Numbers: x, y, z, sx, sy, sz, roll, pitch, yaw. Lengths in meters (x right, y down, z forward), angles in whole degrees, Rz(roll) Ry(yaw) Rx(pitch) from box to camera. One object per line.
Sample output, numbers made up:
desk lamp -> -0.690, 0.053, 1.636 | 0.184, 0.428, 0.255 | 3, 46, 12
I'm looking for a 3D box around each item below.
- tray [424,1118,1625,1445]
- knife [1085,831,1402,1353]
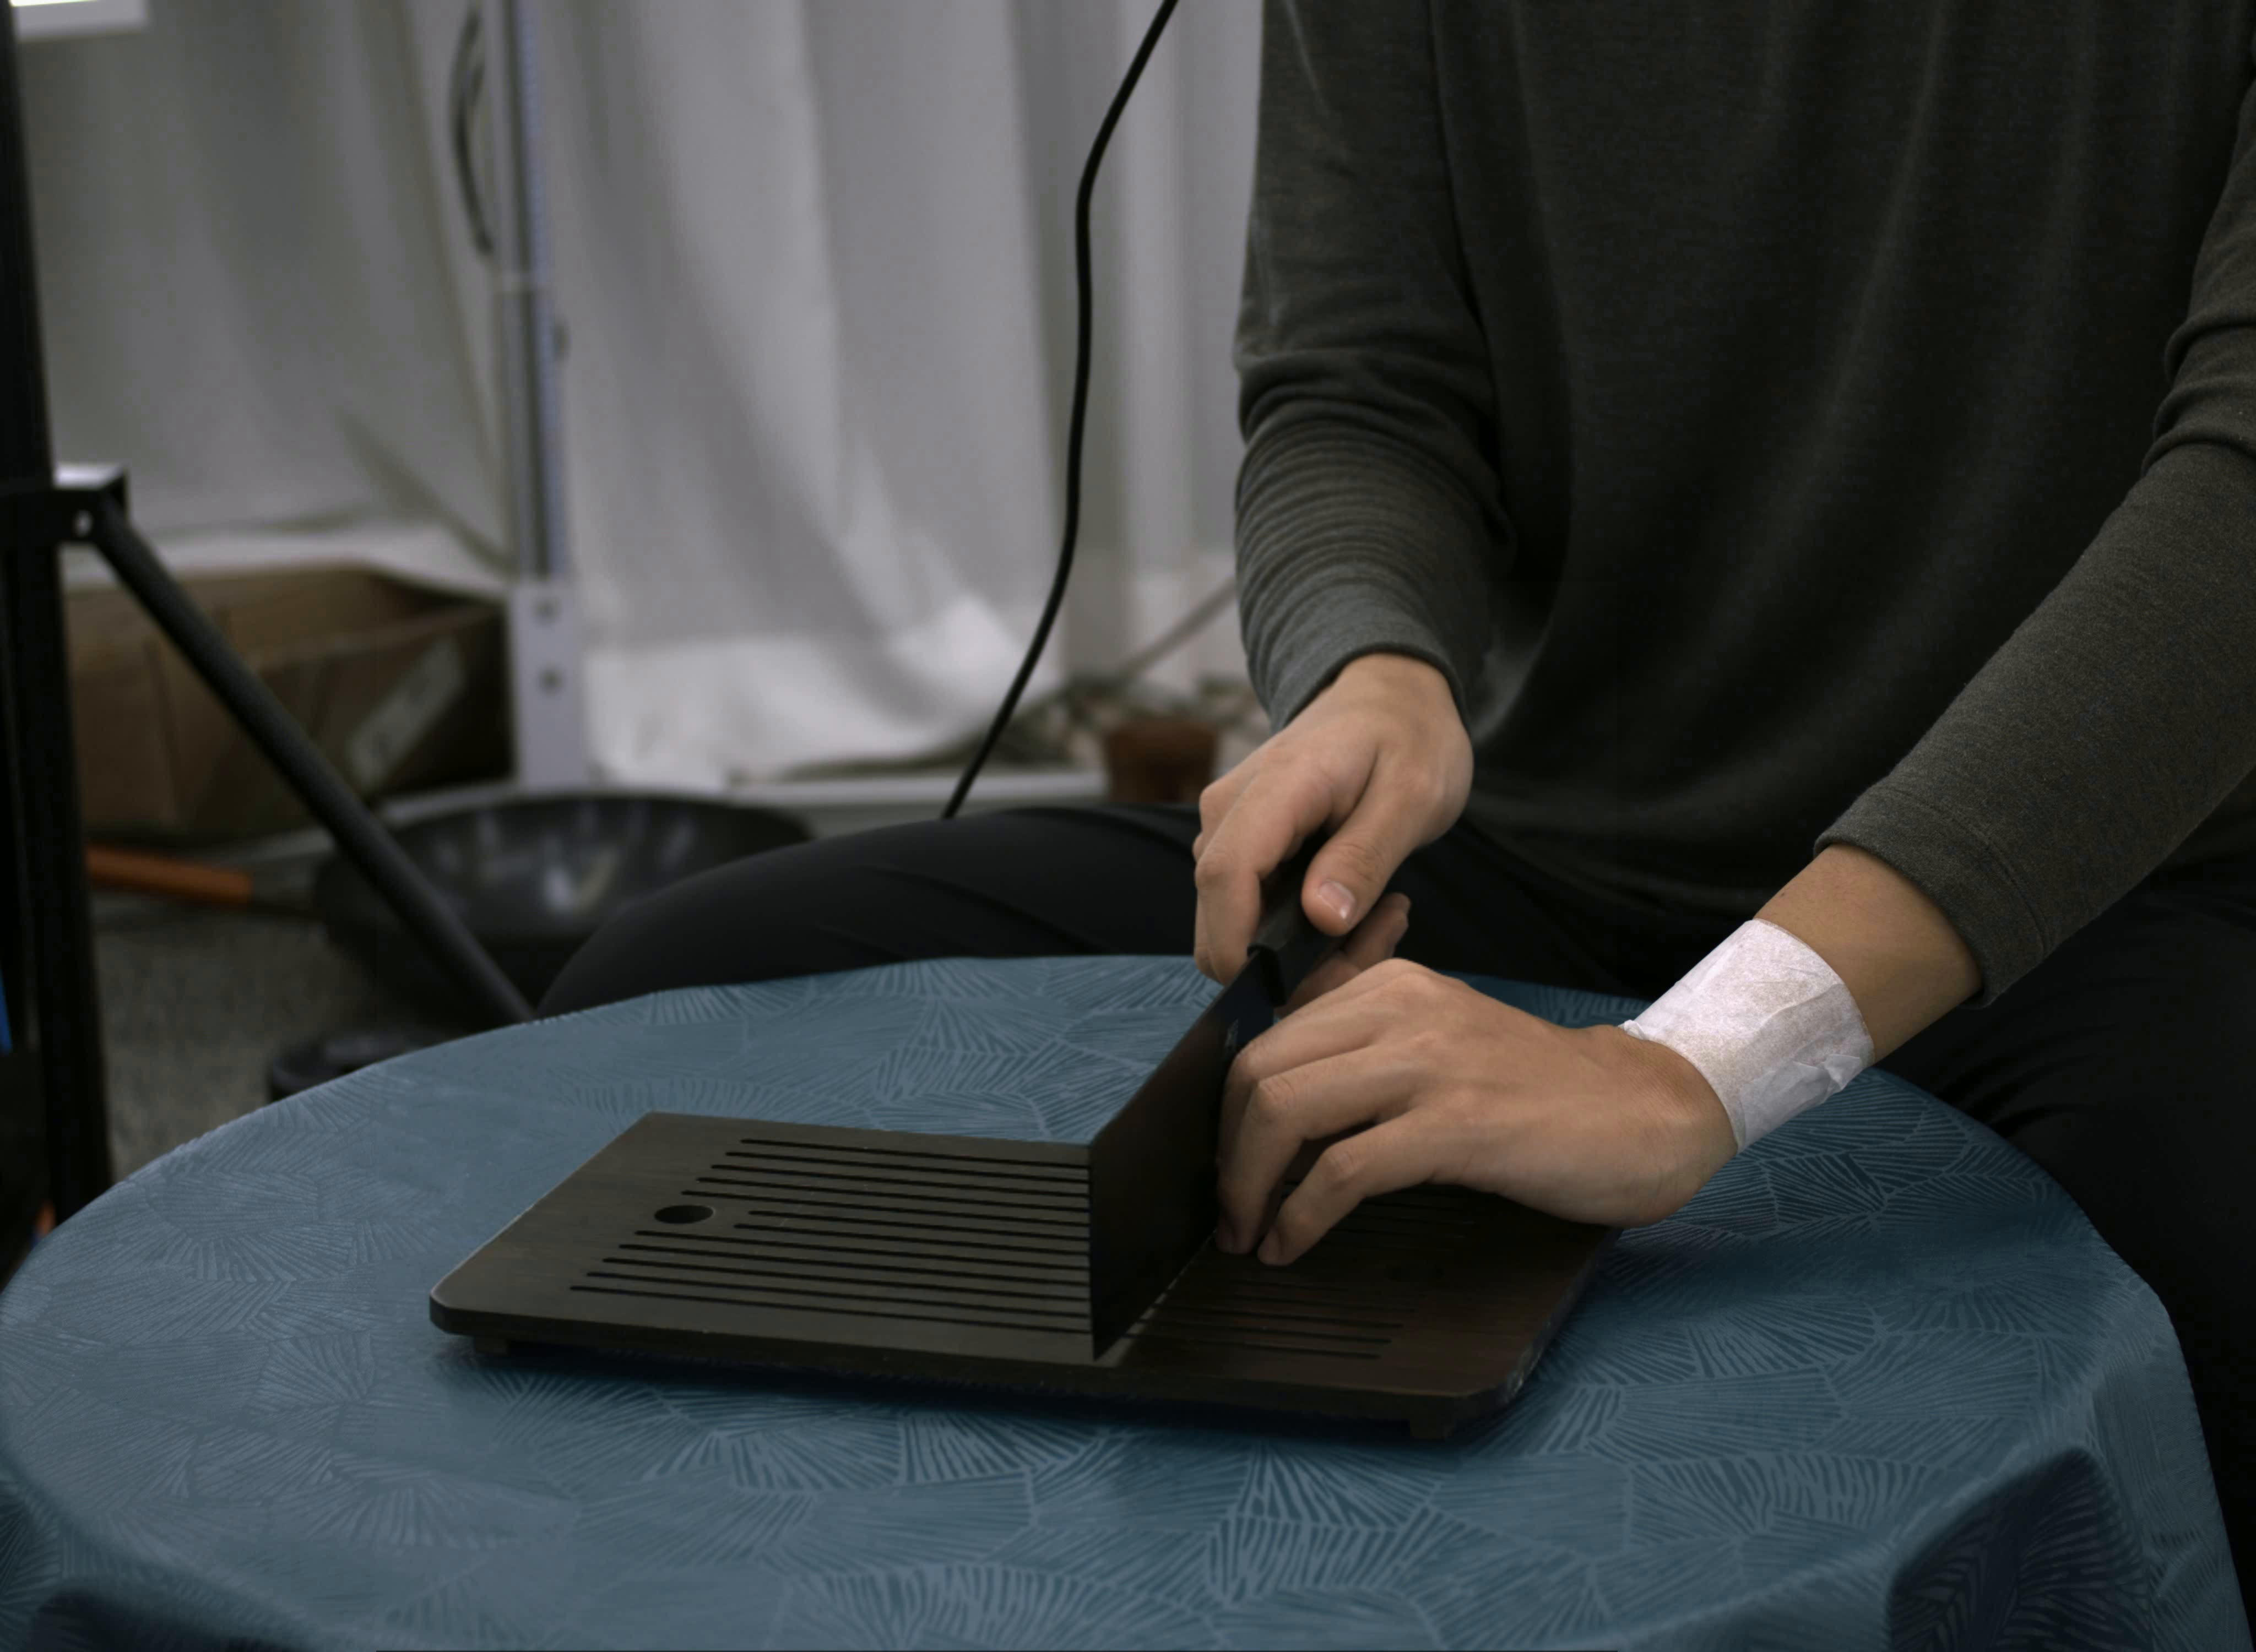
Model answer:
tray -> -0.026, 0.124, 1.474 | 0.309, 0.018, 0.168 | 4, 16, 19
knife -> 0.033, 0.066, 1.498 | 0.021, 0.081, 0.300 | 6, 22, 16
